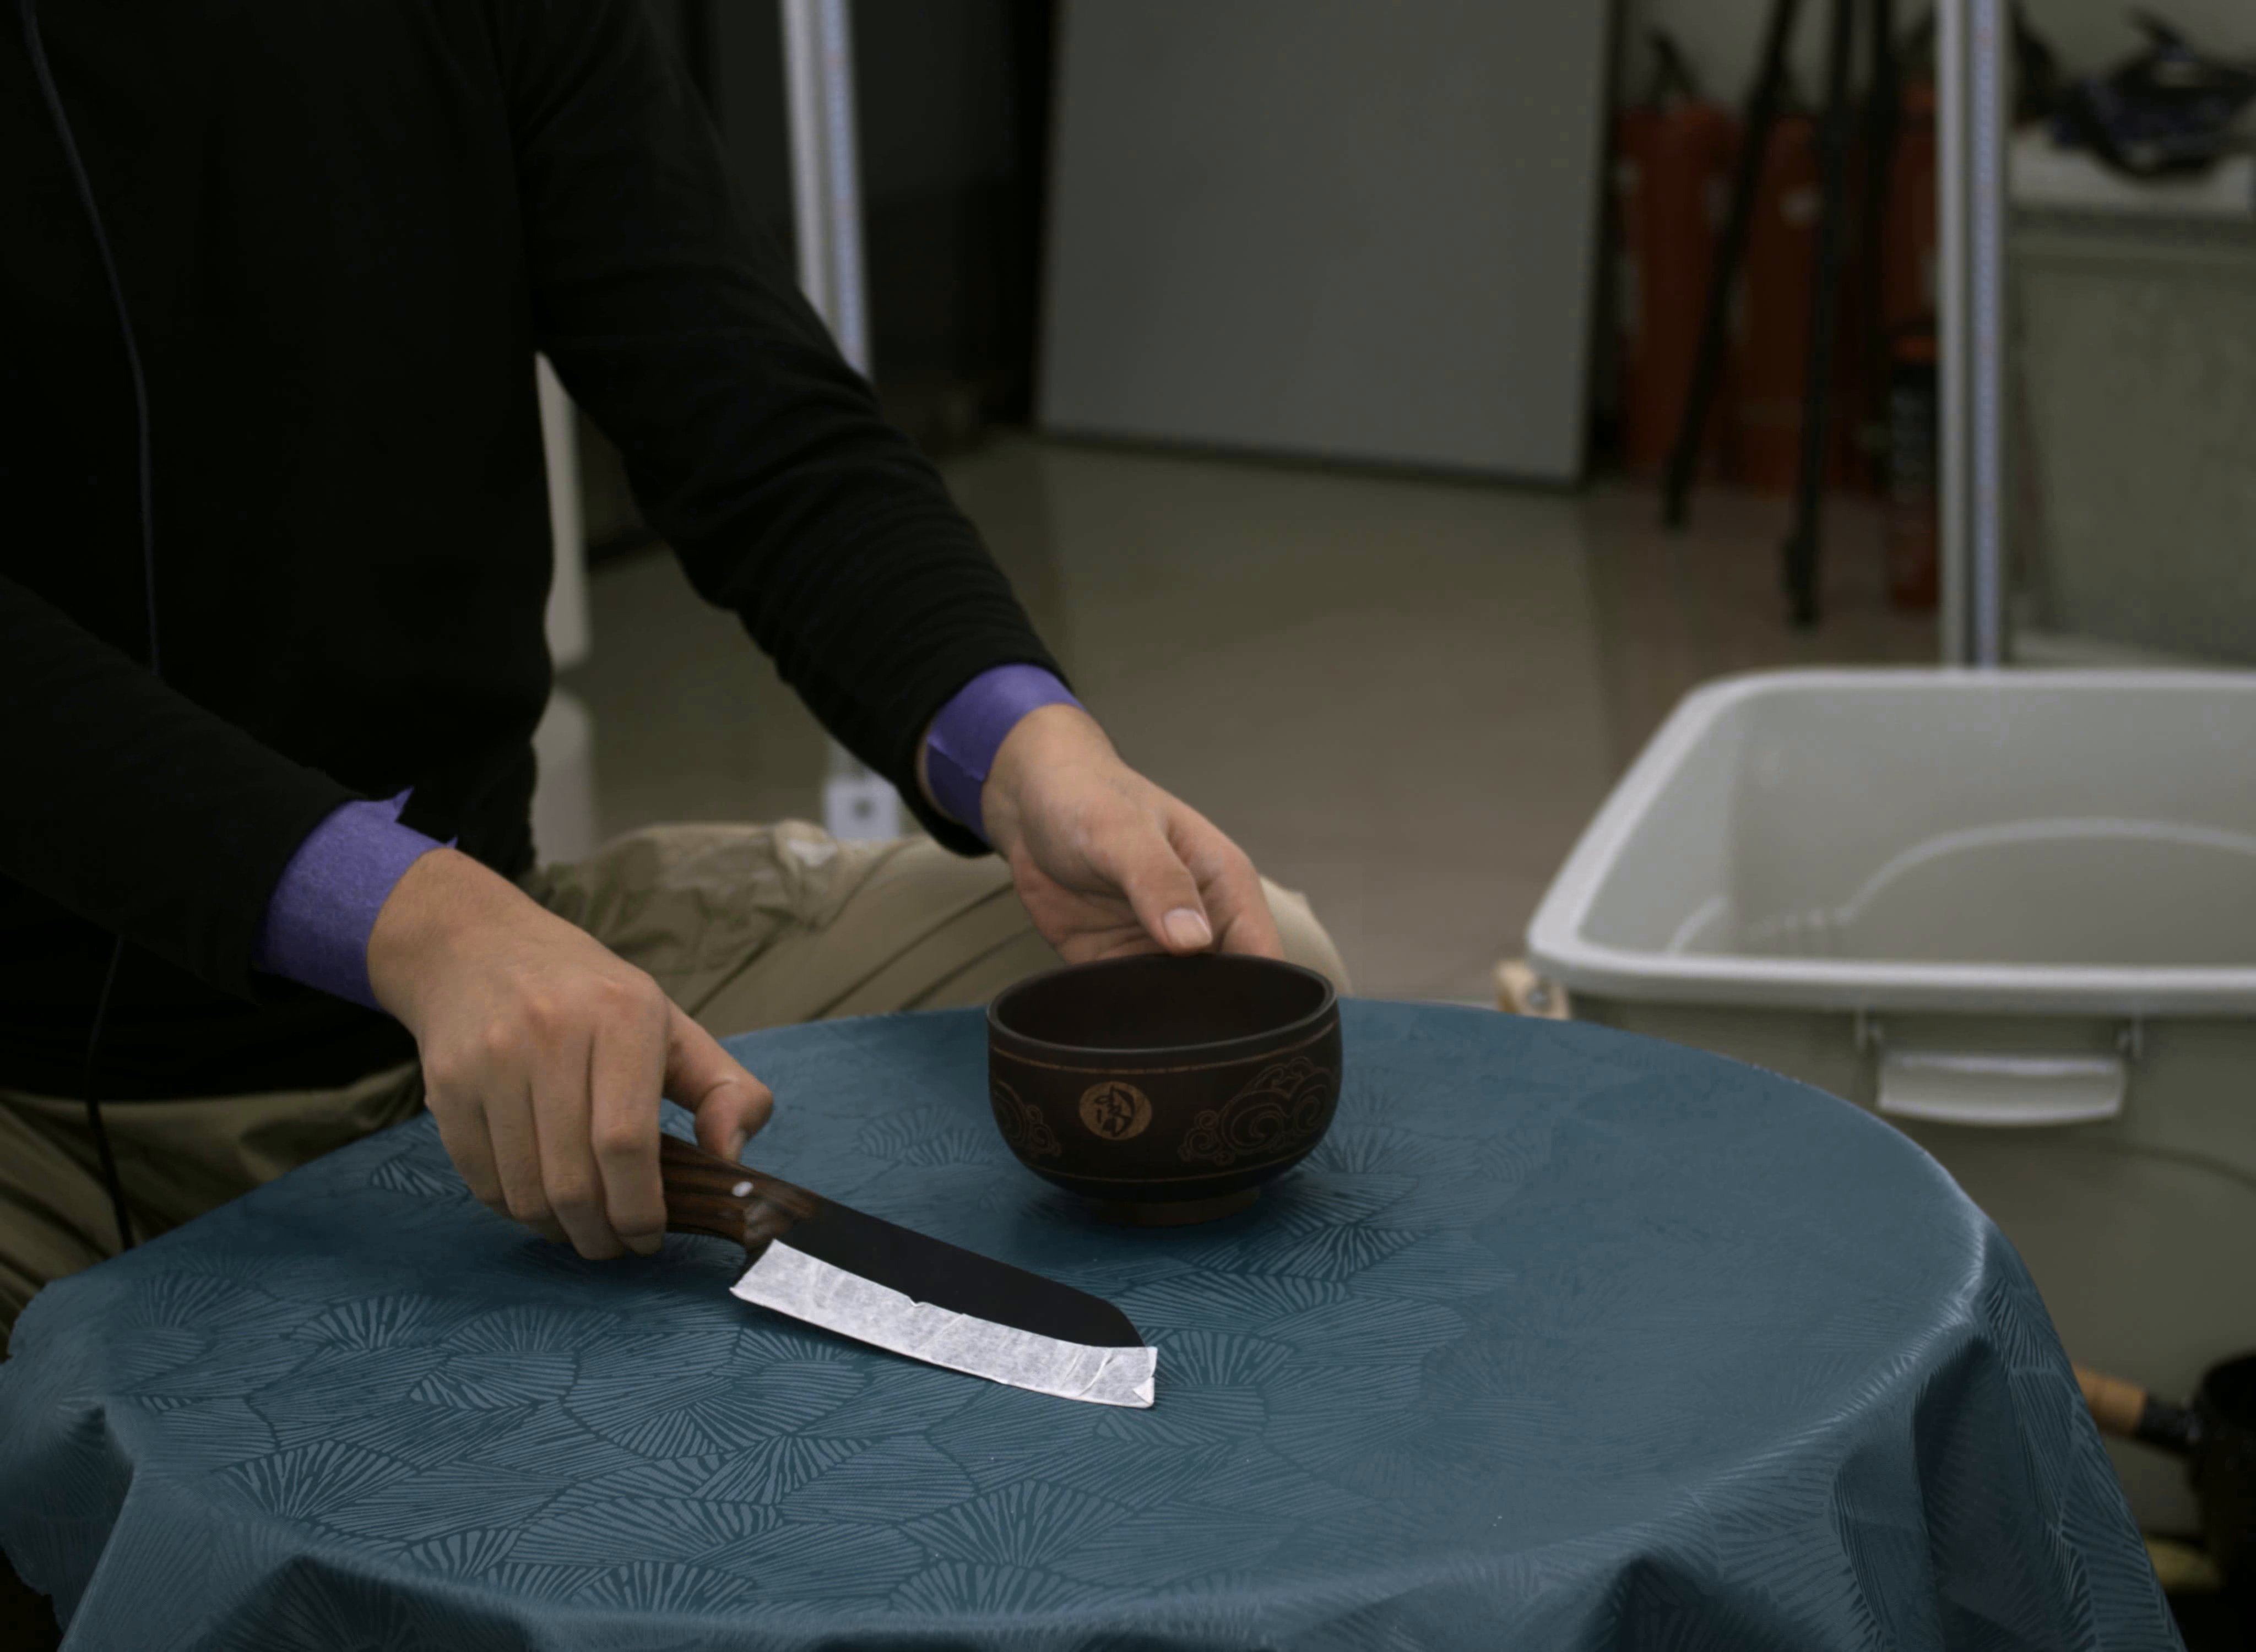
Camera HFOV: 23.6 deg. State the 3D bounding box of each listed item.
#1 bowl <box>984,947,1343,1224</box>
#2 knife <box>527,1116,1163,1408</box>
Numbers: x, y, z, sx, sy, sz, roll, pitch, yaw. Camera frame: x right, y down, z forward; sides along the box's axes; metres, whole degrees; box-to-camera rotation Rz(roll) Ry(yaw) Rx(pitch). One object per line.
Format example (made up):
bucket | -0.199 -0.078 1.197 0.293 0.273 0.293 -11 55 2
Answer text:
bowl | 0.013 0.088 1.754 0.116 0.070 0.118 -4 13 0
knife | -0.091 0.135 1.674 0.292 0.020 0.050 17 54 43
